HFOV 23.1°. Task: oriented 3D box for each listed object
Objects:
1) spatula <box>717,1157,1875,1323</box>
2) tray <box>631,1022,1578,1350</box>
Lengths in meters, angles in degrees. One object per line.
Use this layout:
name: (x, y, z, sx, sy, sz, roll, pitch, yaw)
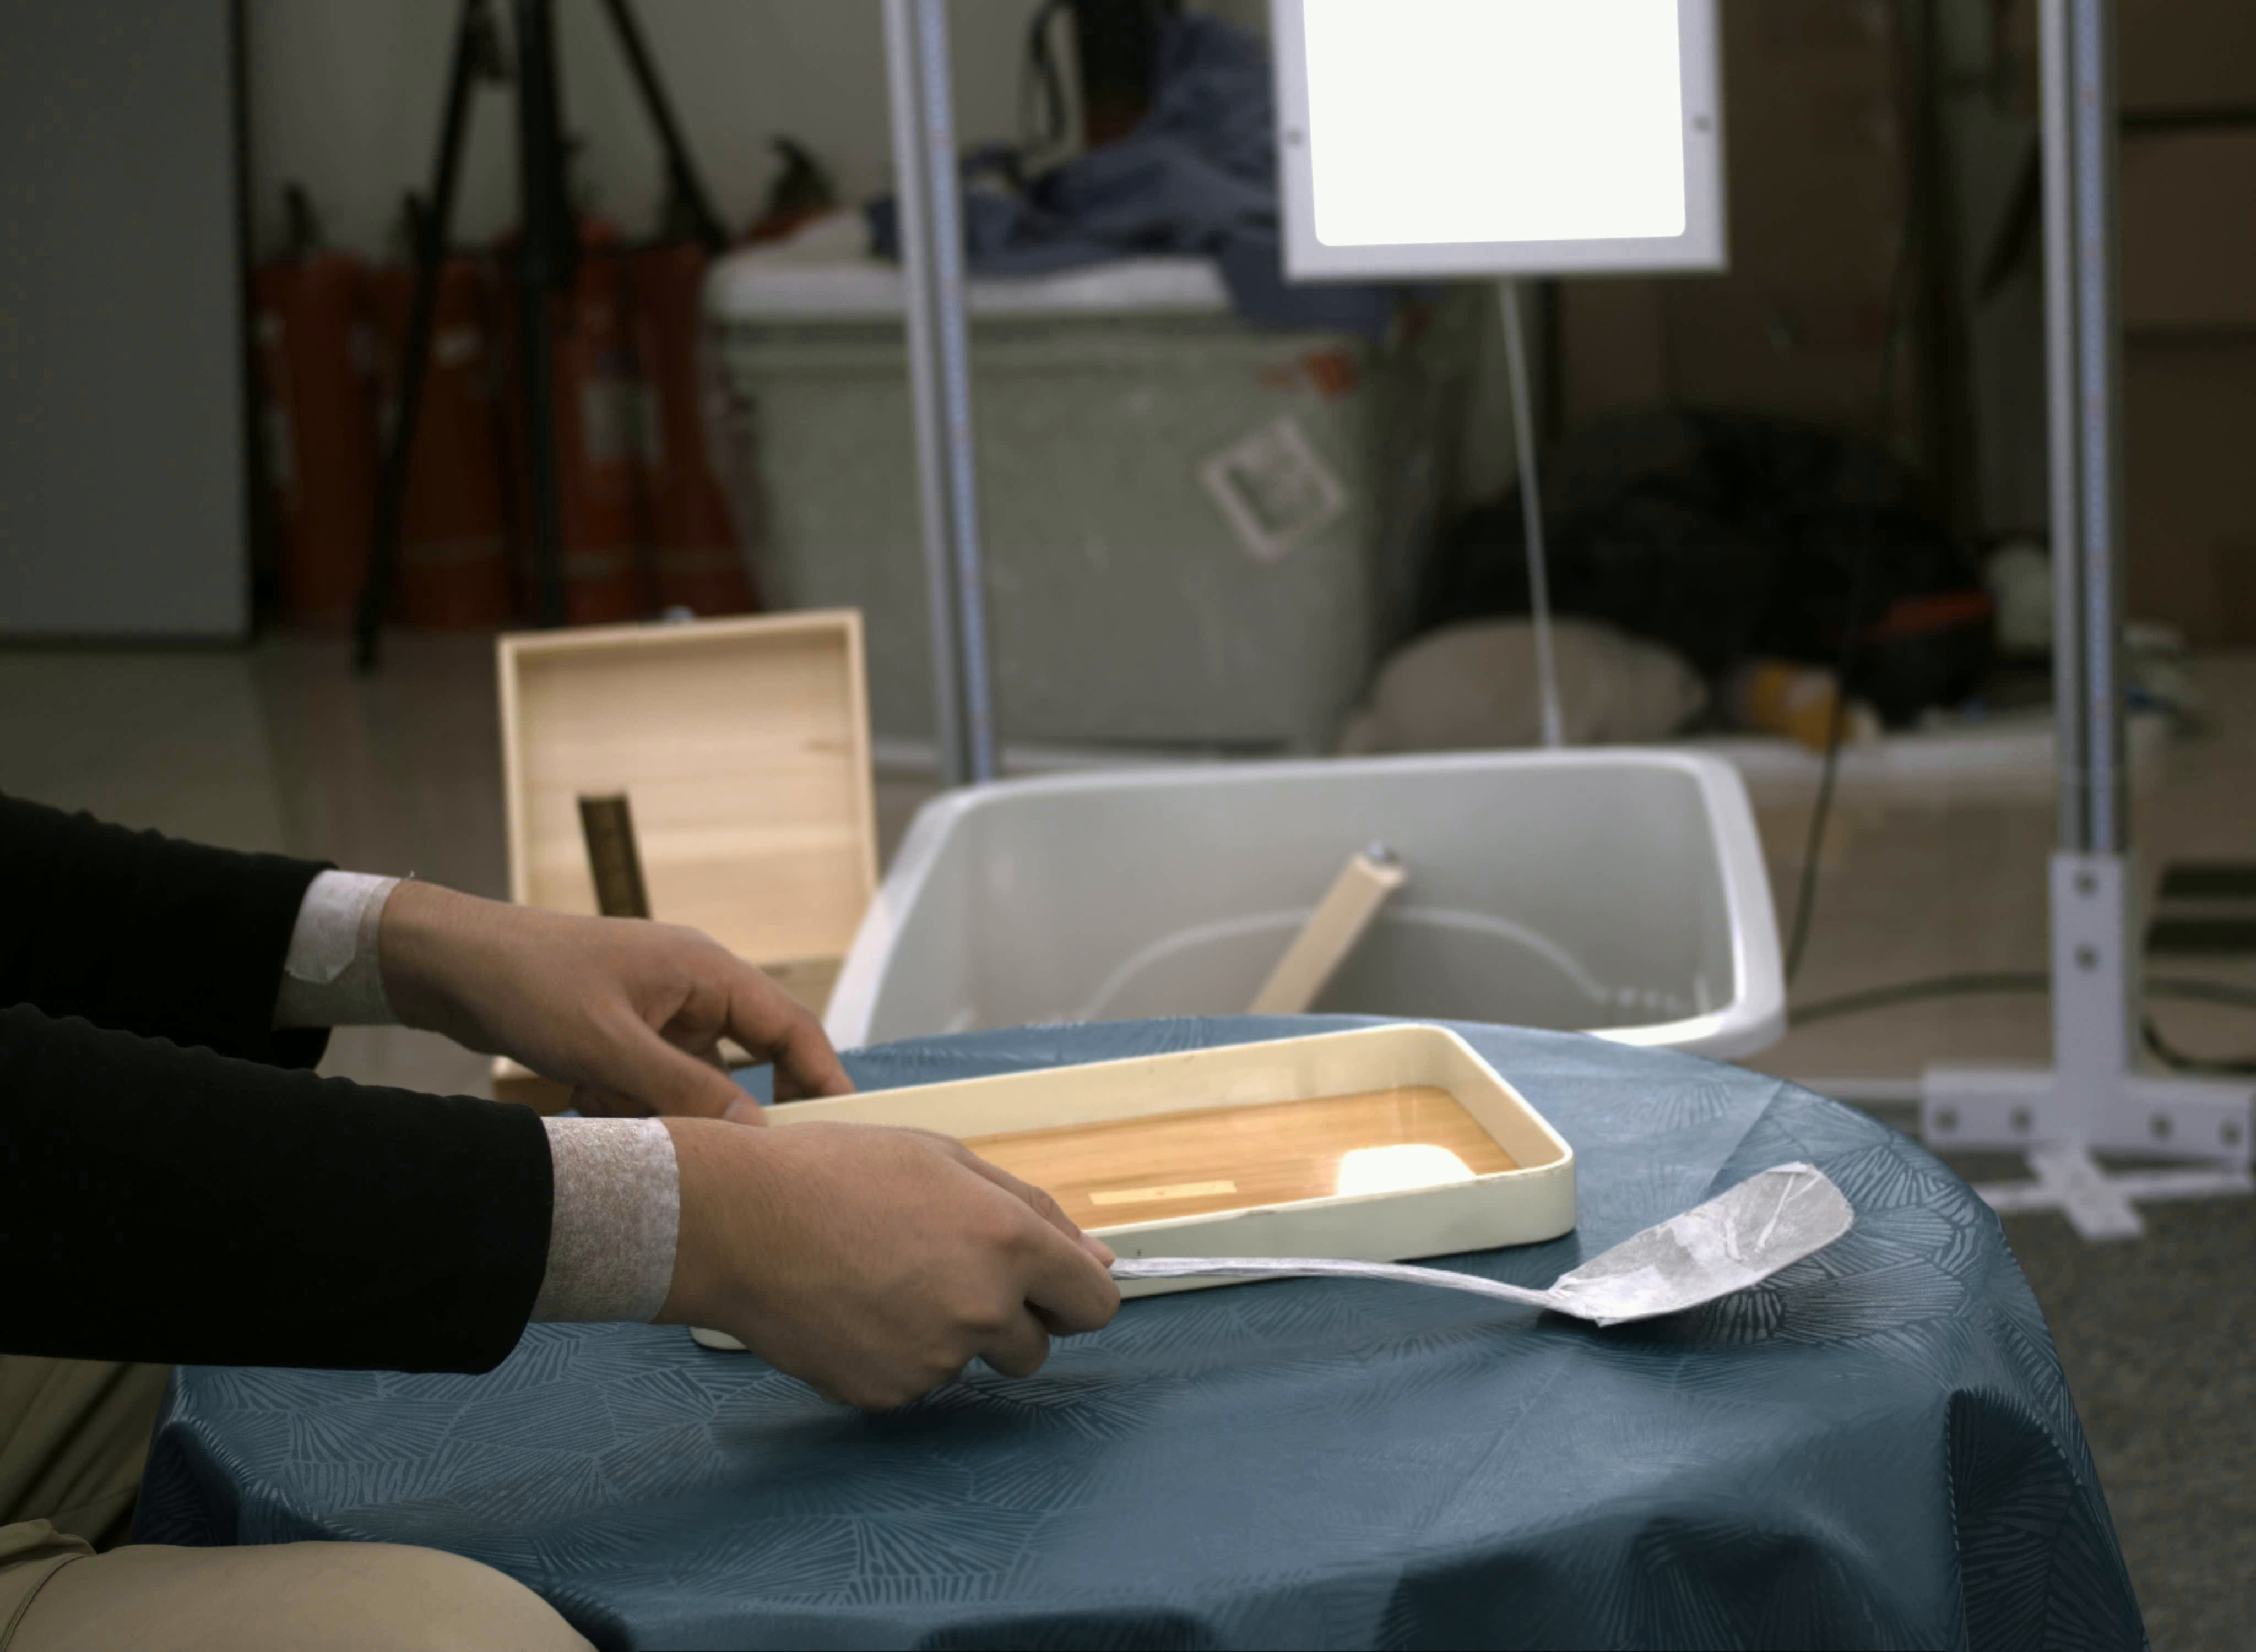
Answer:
spatula: (0.053, 0.134, 1.722, 0.362, 0.045, 0.099, 0, 10, -5)
tray: (-0.012, 0.120, 1.873, 0.297, 0.027, 0.192, -7, 14, -8)
